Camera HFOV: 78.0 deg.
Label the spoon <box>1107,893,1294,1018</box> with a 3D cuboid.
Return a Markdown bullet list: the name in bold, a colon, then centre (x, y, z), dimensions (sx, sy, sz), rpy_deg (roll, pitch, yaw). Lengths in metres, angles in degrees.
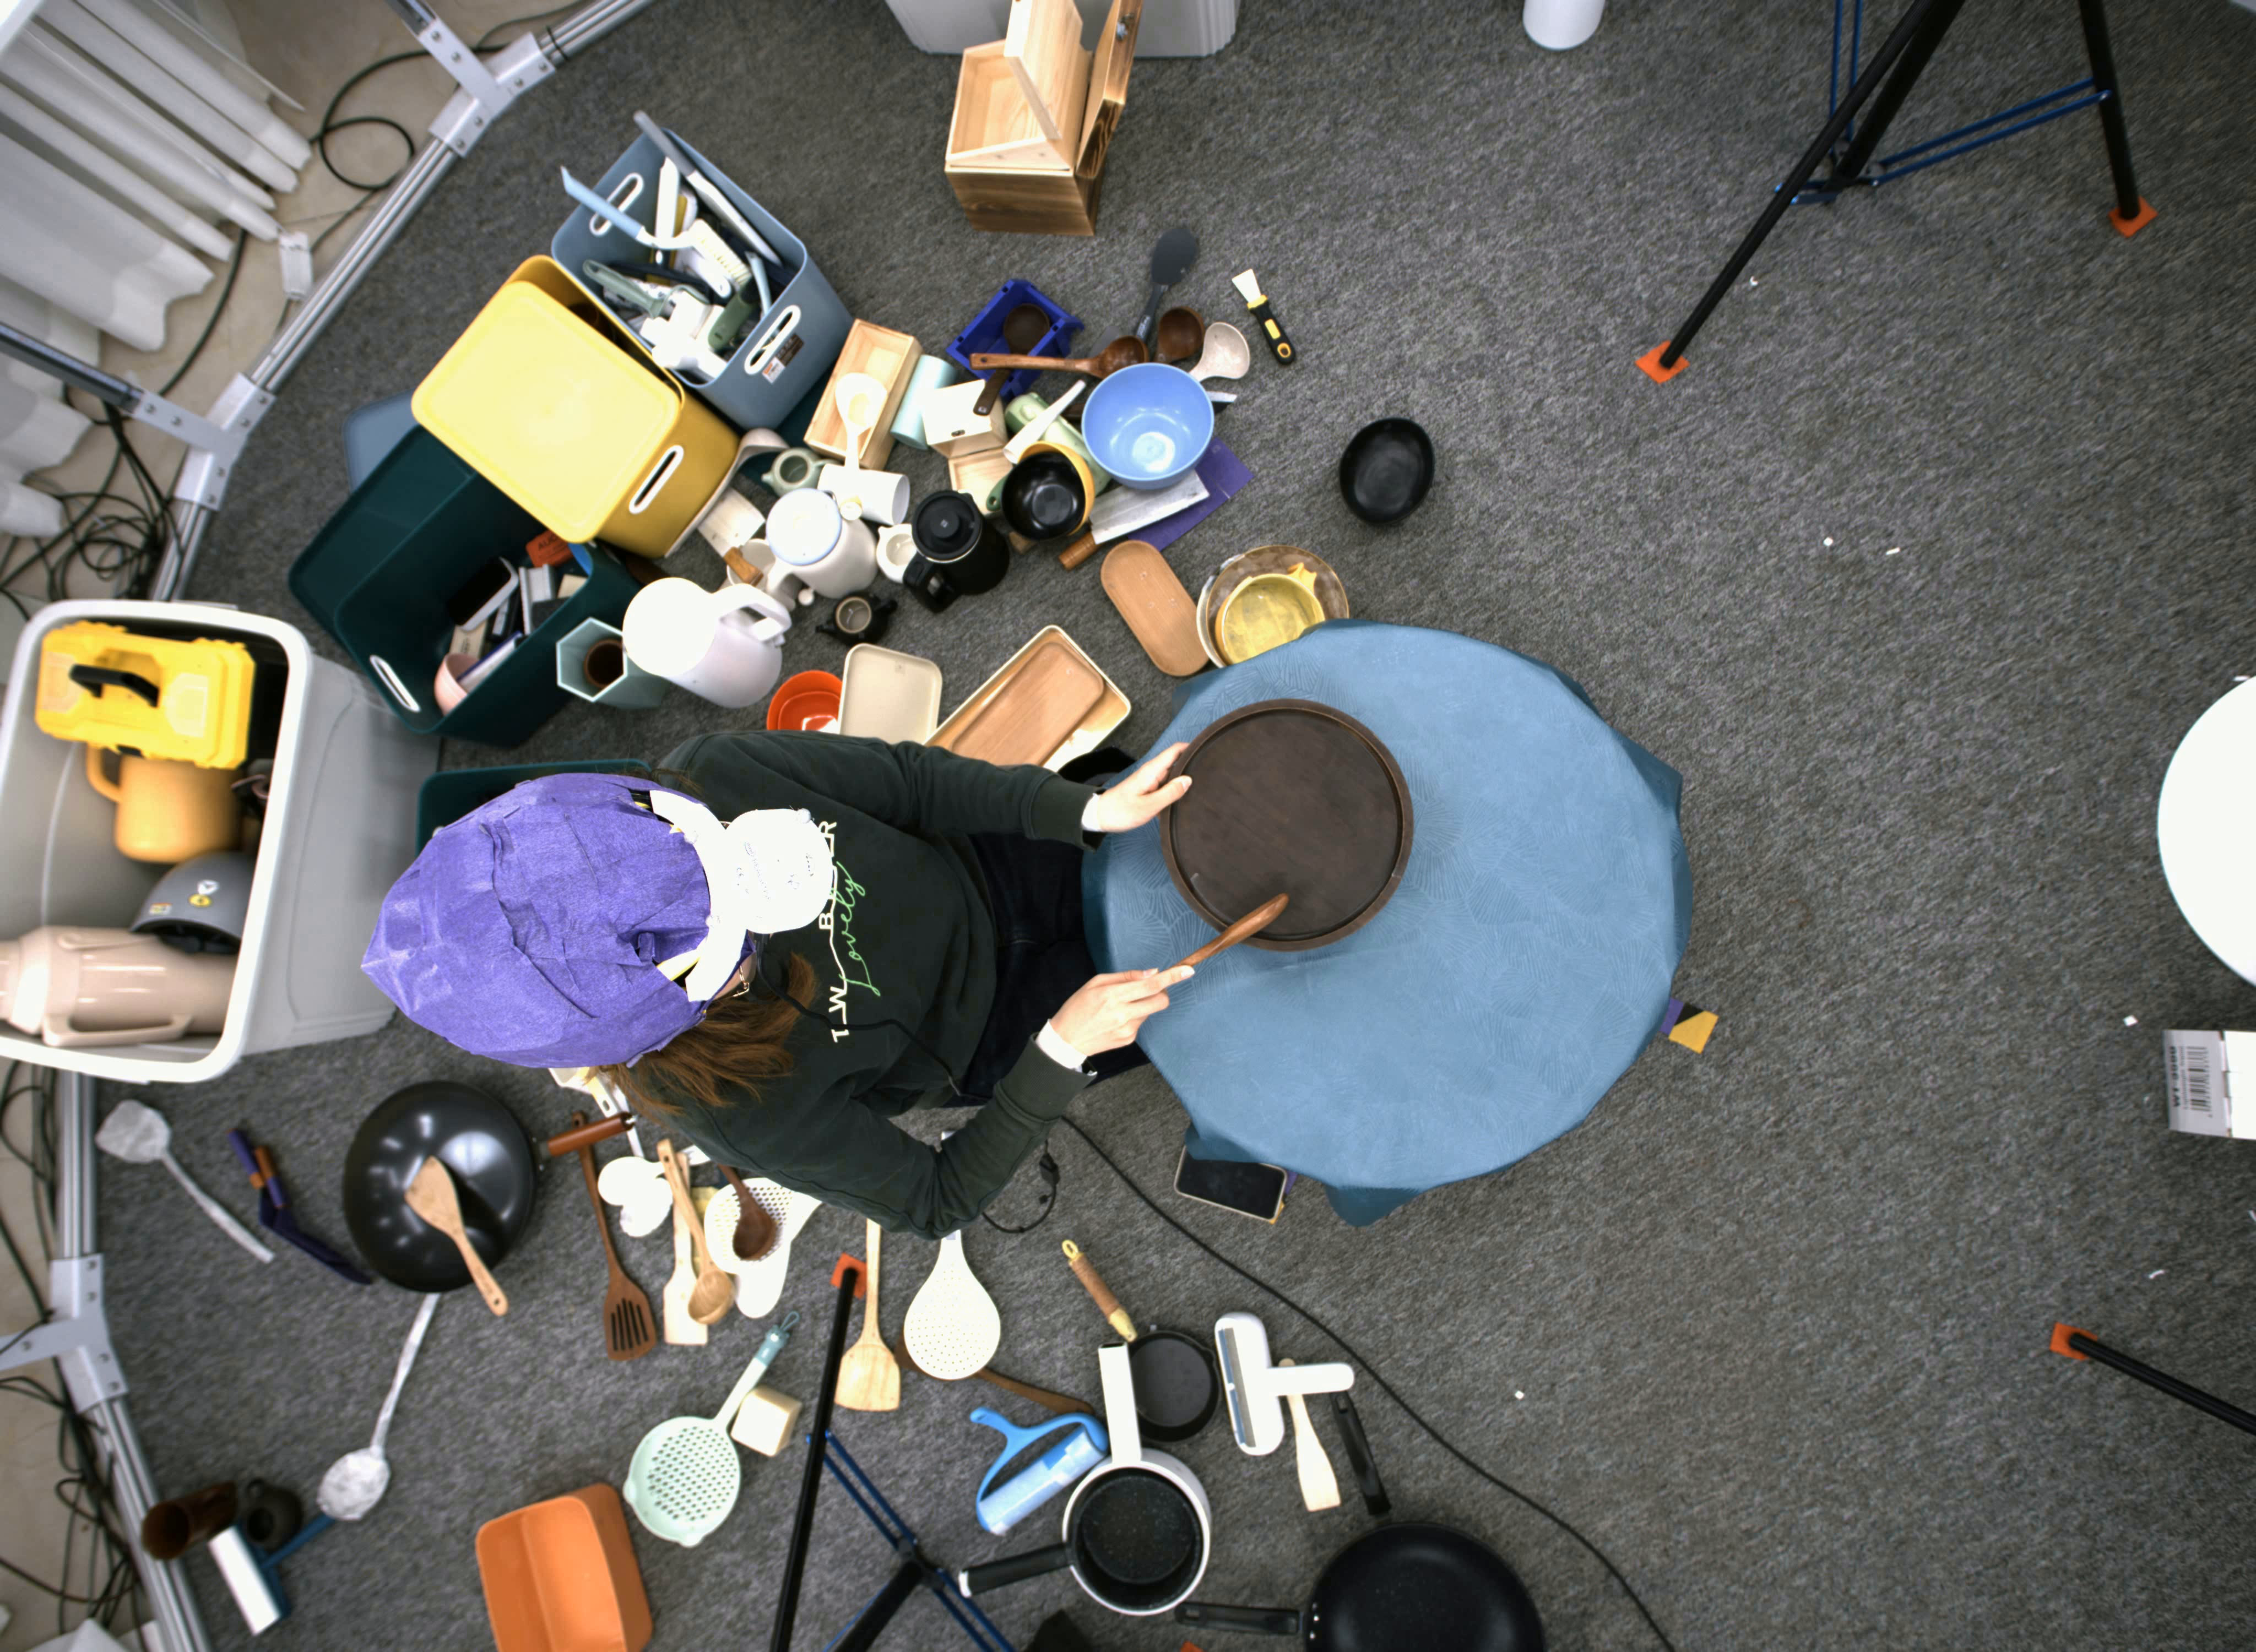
- **spoon**: centre (0.072, 0.127, 1.357), dimensions (0.217, 0.075, 0.017), rpy_deg (-33, 91, 8)

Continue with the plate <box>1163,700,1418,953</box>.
- **plate**: centre (0.161, 0.000, 1.386), dimensions (0.255, 0.029, 0.255), rpy_deg (0, 92, 9)
